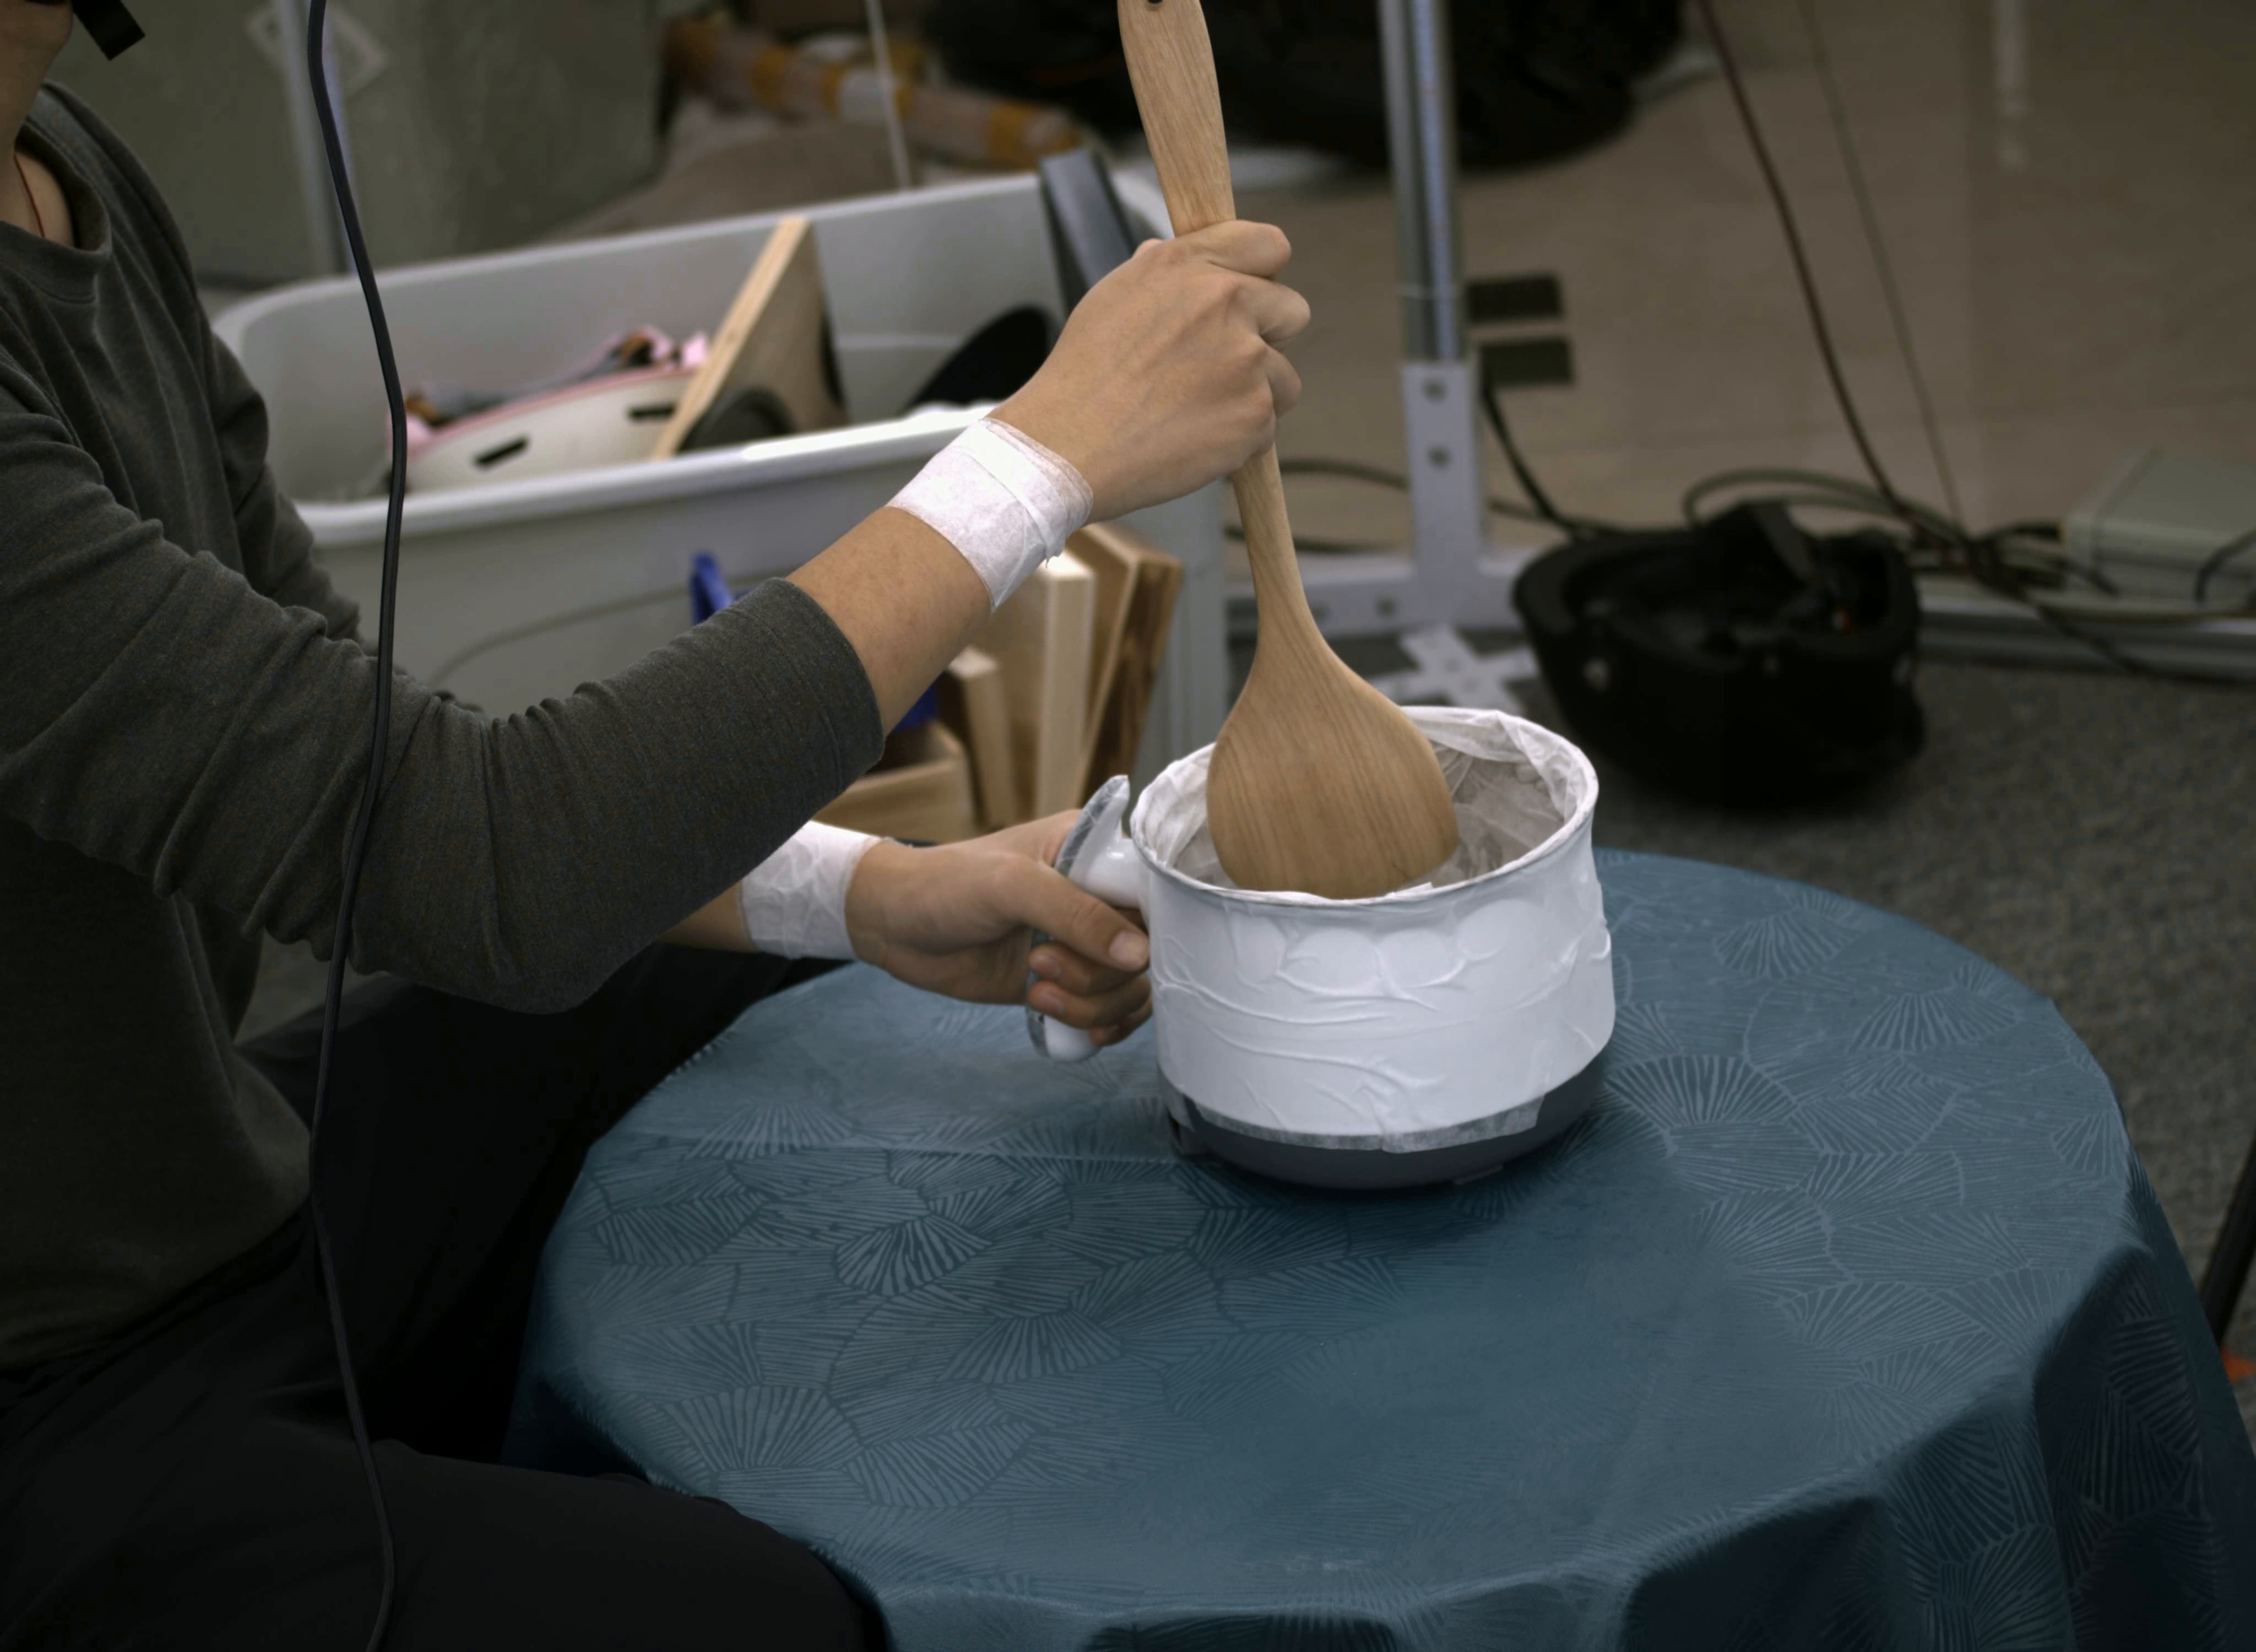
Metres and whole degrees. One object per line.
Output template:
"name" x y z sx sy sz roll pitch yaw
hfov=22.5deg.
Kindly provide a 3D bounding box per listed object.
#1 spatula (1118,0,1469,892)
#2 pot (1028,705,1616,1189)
"spatula" 0.050 -0.146 2.093 0.095 0.397 0.018 -10 27 5
"pot" 0.070 0.047 2.169 0.233 0.139 0.176 3 26 19
